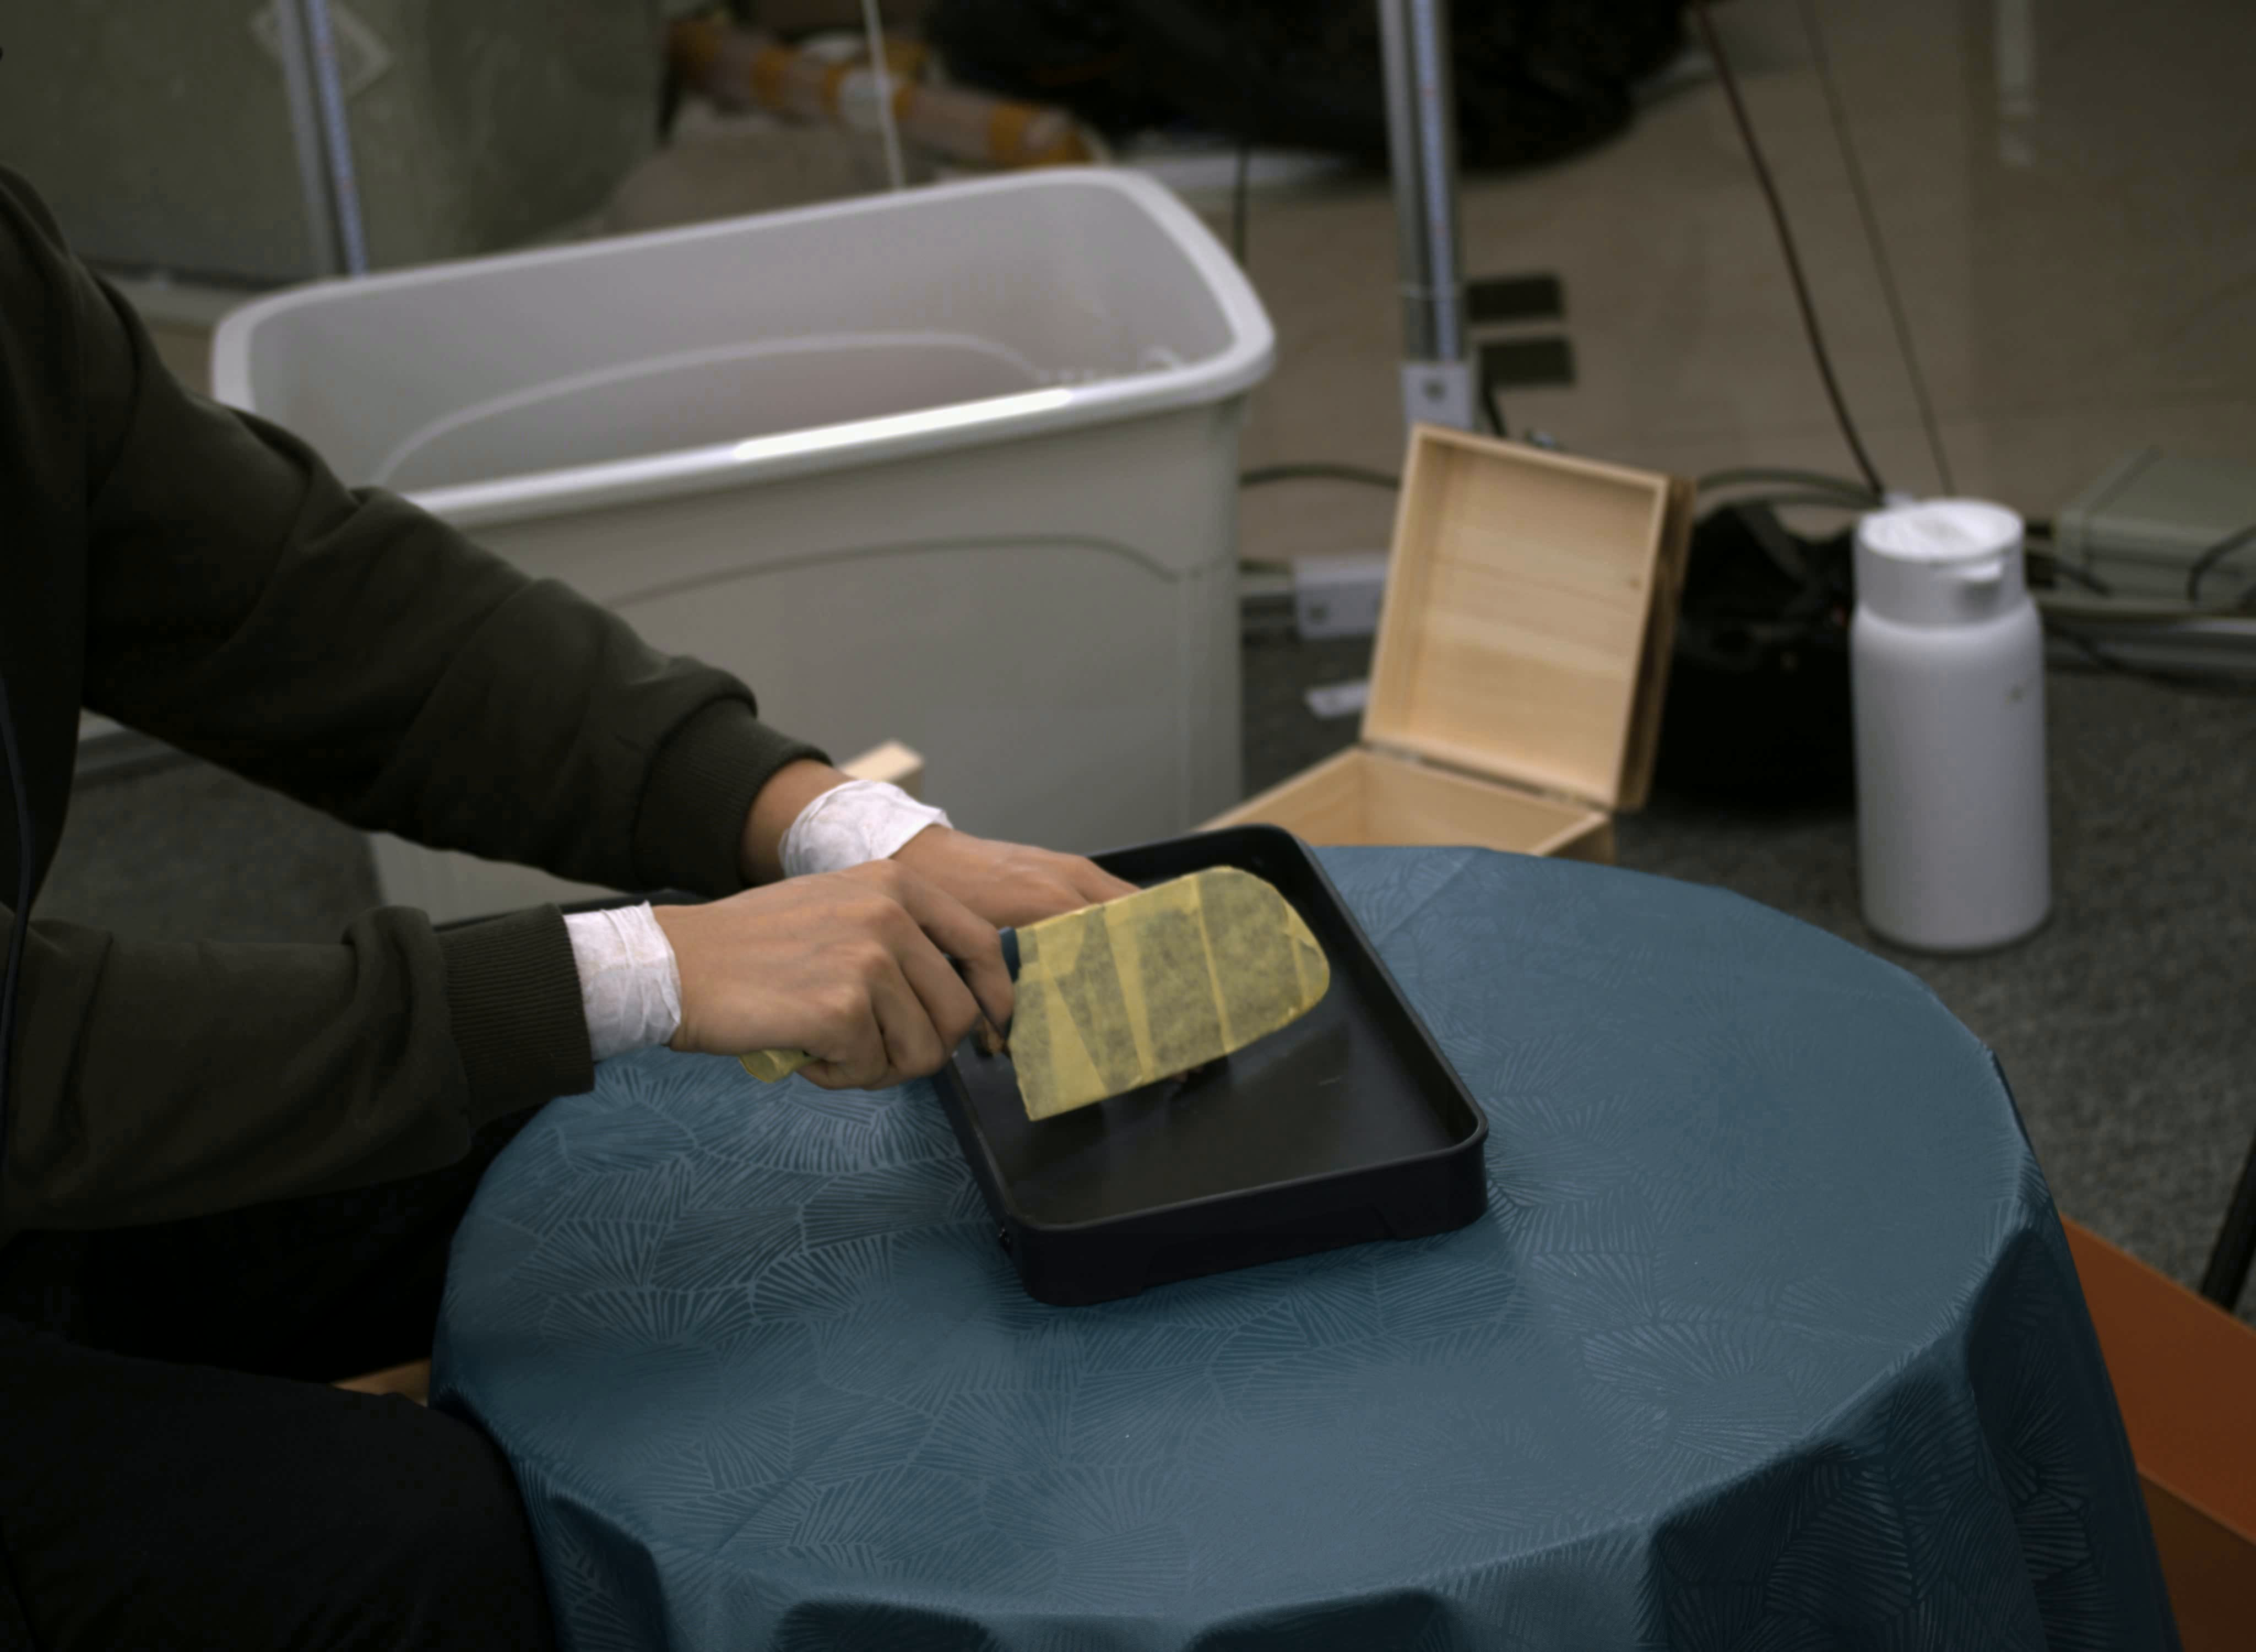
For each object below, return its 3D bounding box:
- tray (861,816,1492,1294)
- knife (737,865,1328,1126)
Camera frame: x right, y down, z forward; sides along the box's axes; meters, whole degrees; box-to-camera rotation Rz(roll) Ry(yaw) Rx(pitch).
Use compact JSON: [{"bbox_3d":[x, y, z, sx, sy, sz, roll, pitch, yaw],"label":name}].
[{"bbox_3d":[0.014,0.084,2.220,0.184,0.037,0.313,-12,25,-11],"label":"tray"},{"bbox_3d":[-0.029,0.072,2.165,0.288,0.081,0.027,-13,3,-39],"label":"knife"}]
